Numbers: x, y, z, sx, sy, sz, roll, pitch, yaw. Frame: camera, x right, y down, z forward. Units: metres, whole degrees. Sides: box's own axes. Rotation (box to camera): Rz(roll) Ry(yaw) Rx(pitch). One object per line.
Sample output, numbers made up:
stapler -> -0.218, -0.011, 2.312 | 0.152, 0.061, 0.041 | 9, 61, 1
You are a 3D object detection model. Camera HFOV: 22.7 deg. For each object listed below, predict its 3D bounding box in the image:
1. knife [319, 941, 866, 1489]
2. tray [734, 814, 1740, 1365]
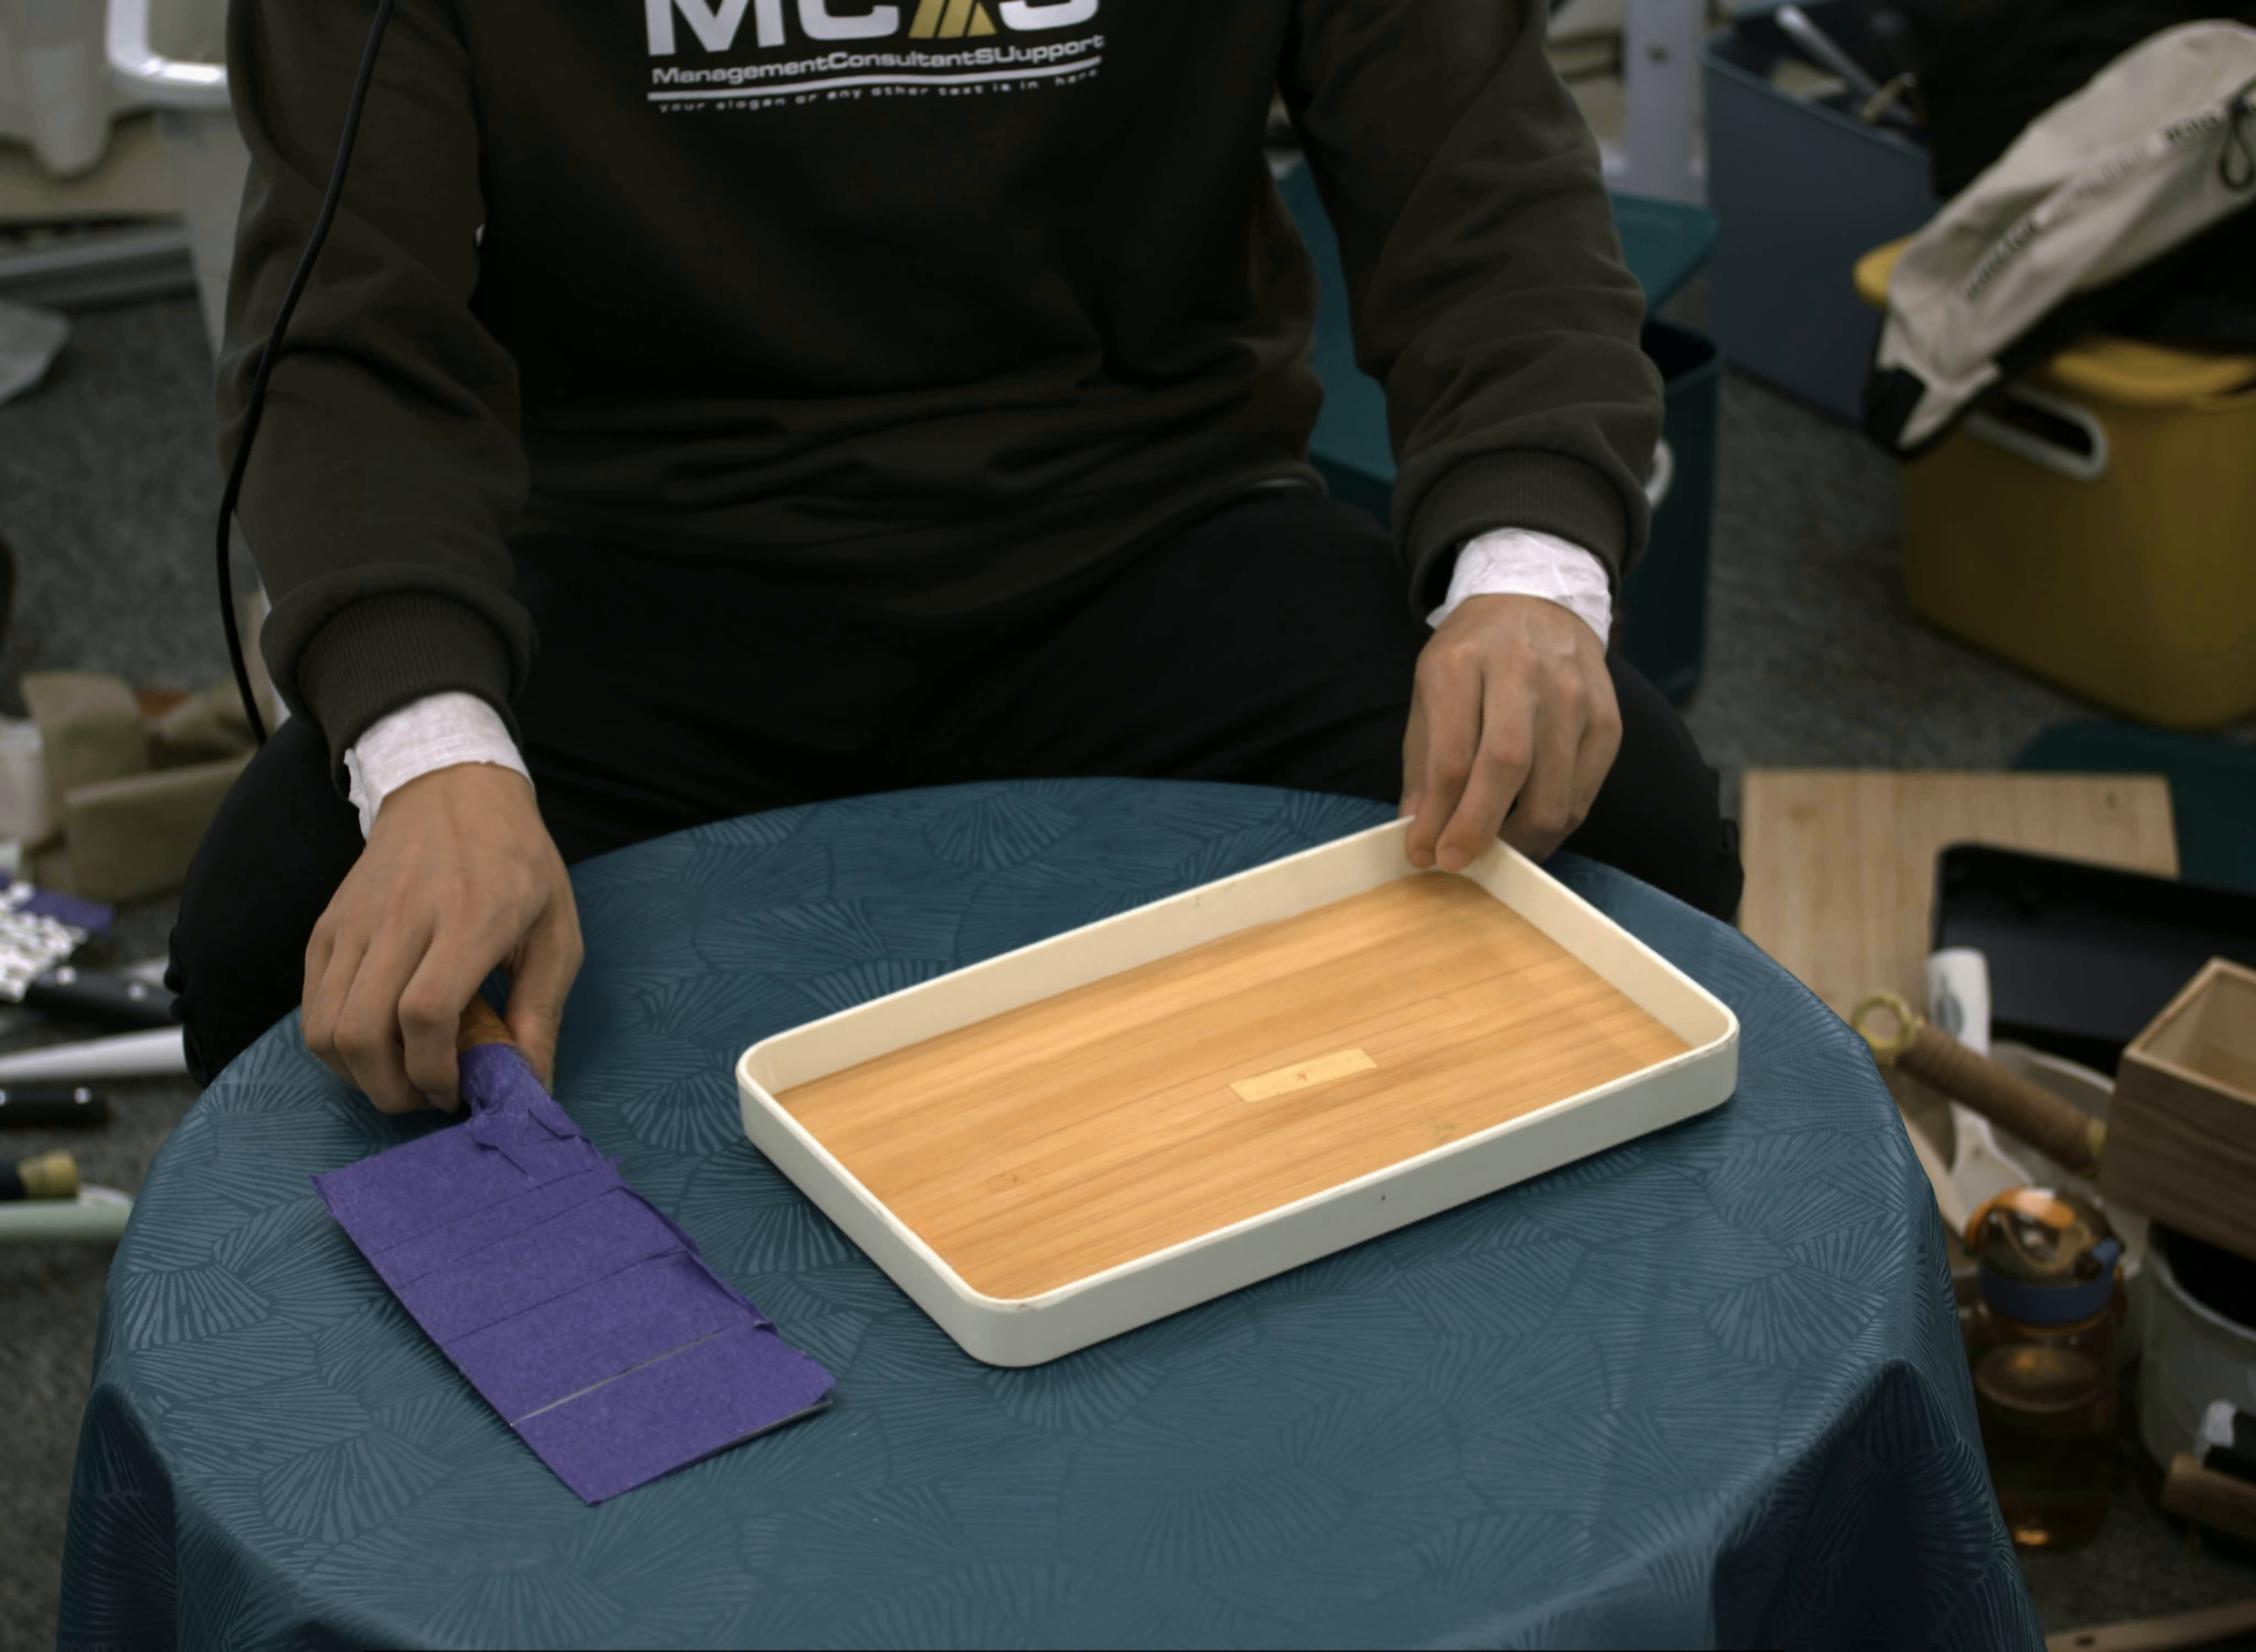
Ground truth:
knife -> -0.207, 0.124, 1.842 | 0.104, 0.032, 0.316 | -19, 33, -27
tray -> 0.037, 0.084, 1.894 | 0.302, 0.027, 0.192 | -18, 32, -26
